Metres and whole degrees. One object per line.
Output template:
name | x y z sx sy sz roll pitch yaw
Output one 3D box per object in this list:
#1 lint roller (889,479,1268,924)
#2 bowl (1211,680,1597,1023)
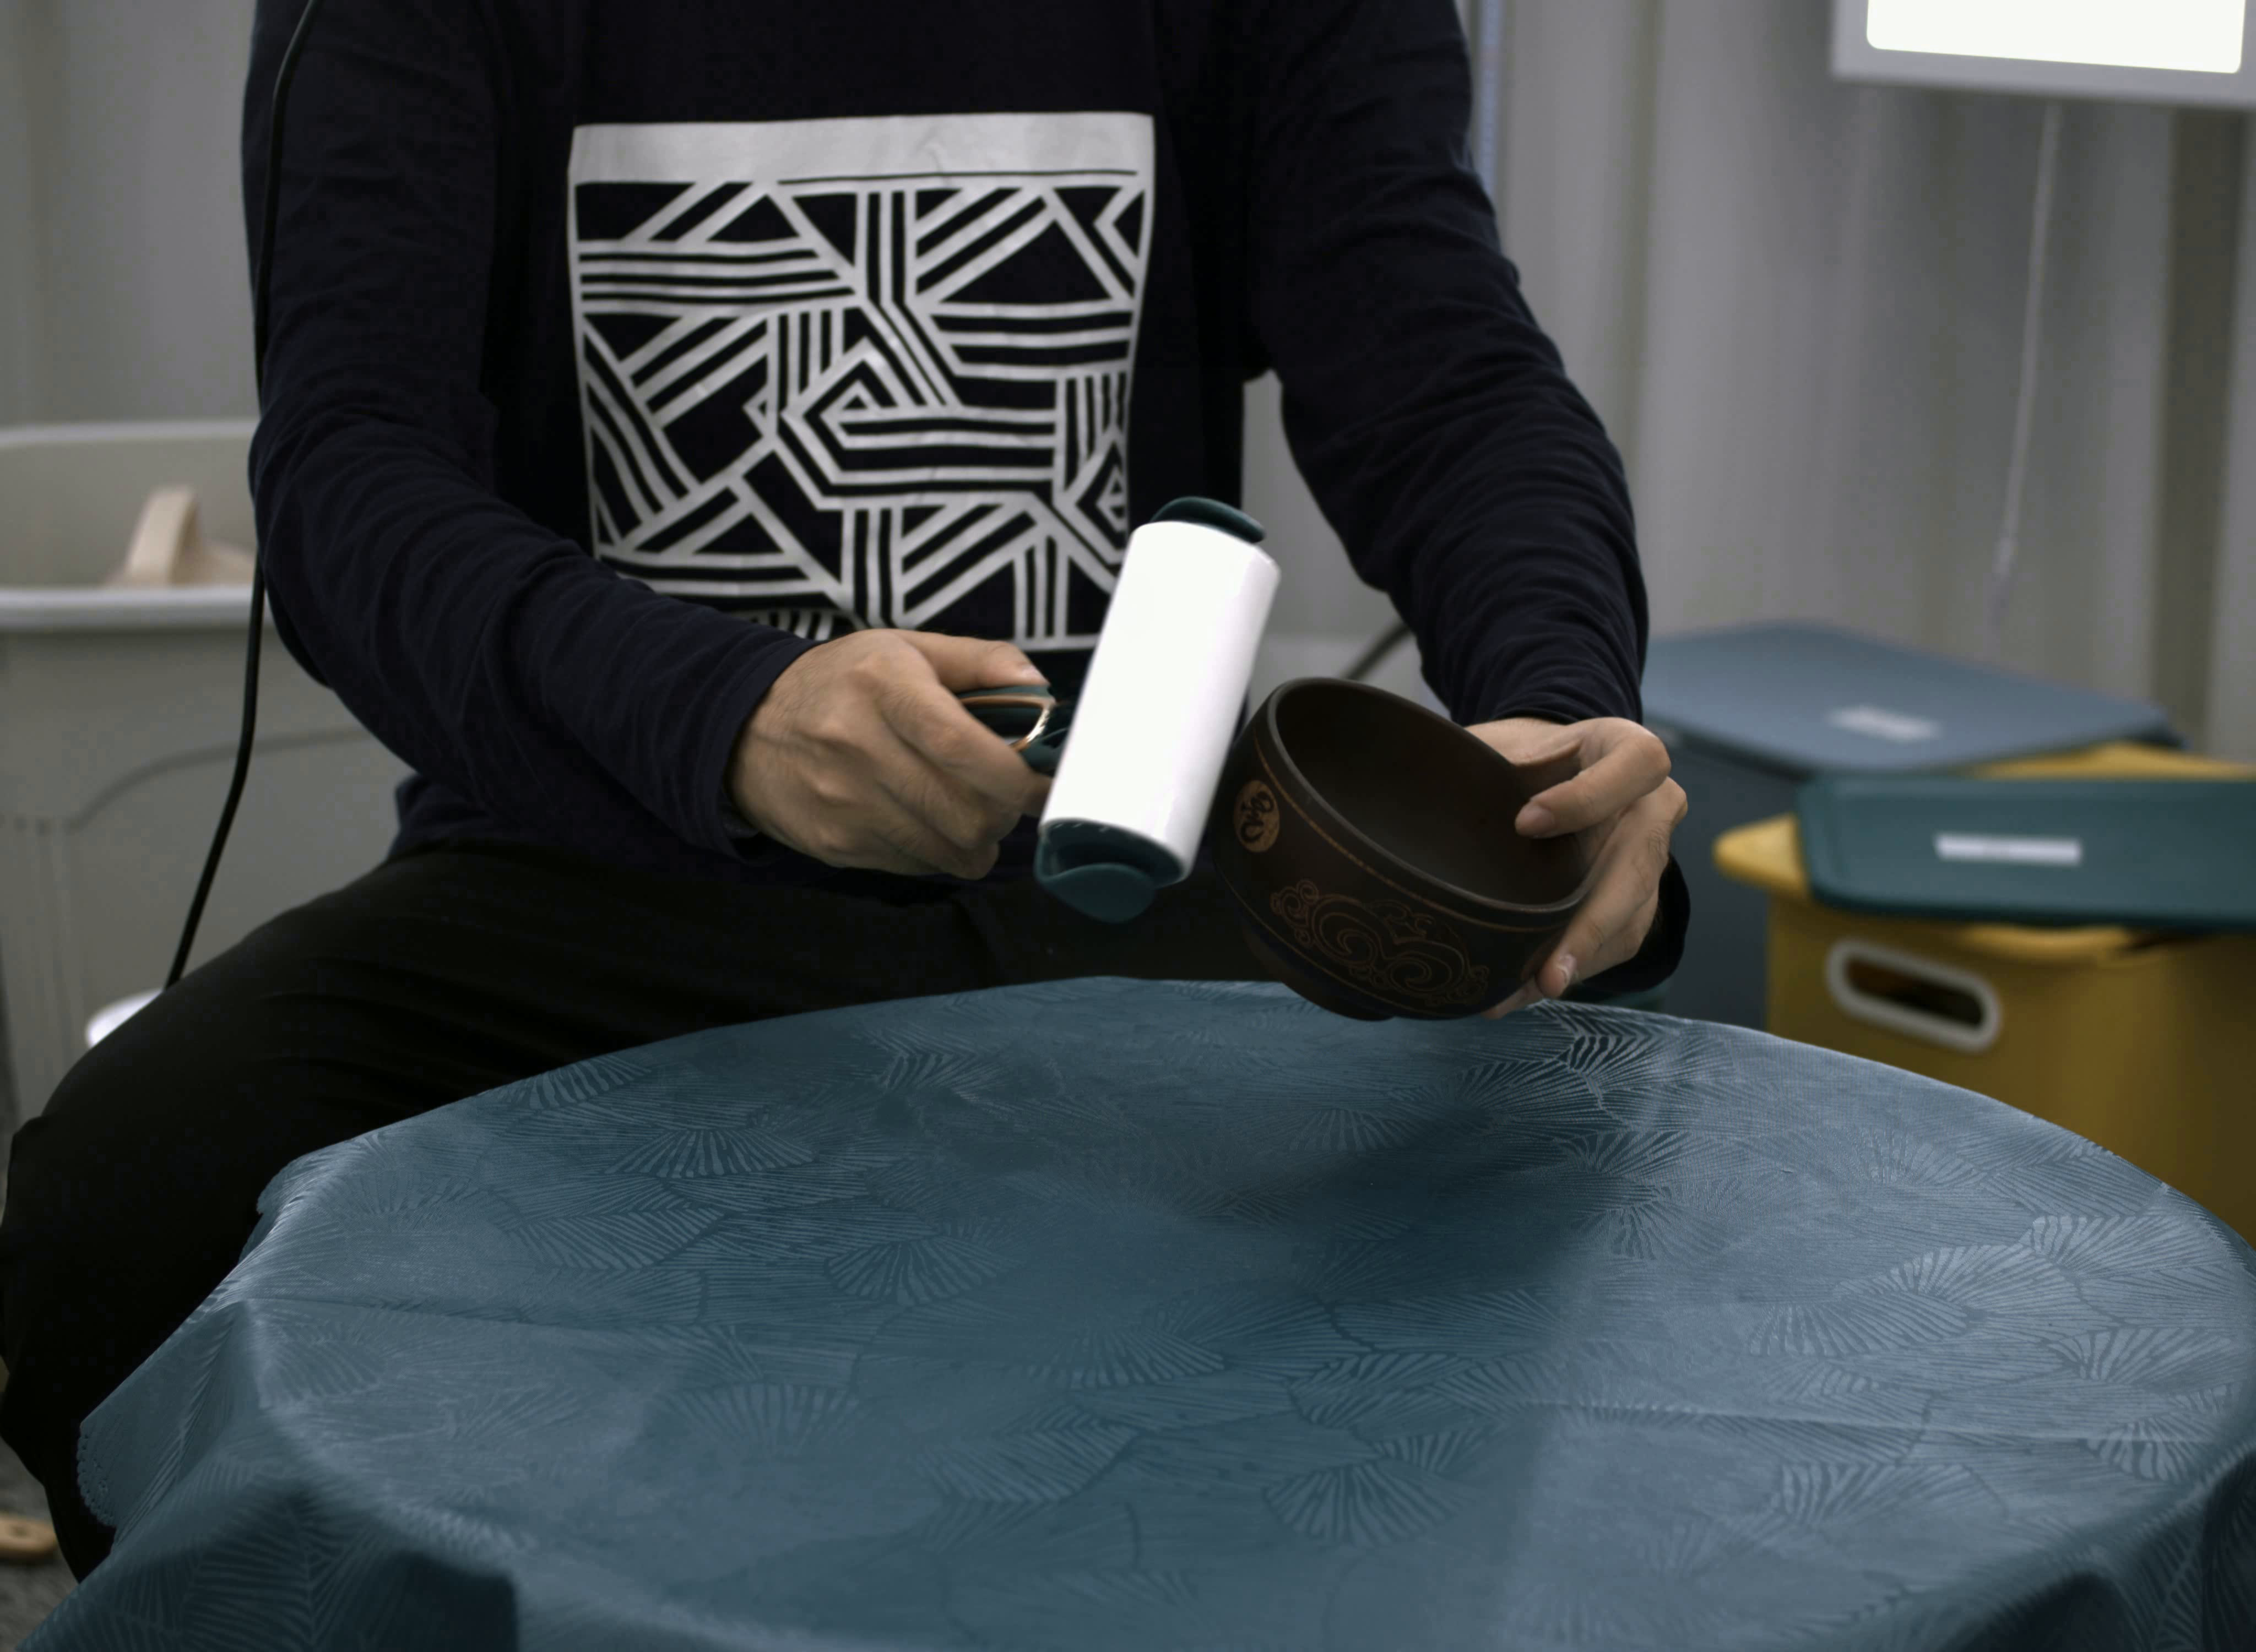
lint roller | -0.034 -0.029 1.623 0.049 0.134 0.178 30 -23 -33
bowl | 0.077 0.016 1.610 0.118 0.070 0.117 23 24 -11
